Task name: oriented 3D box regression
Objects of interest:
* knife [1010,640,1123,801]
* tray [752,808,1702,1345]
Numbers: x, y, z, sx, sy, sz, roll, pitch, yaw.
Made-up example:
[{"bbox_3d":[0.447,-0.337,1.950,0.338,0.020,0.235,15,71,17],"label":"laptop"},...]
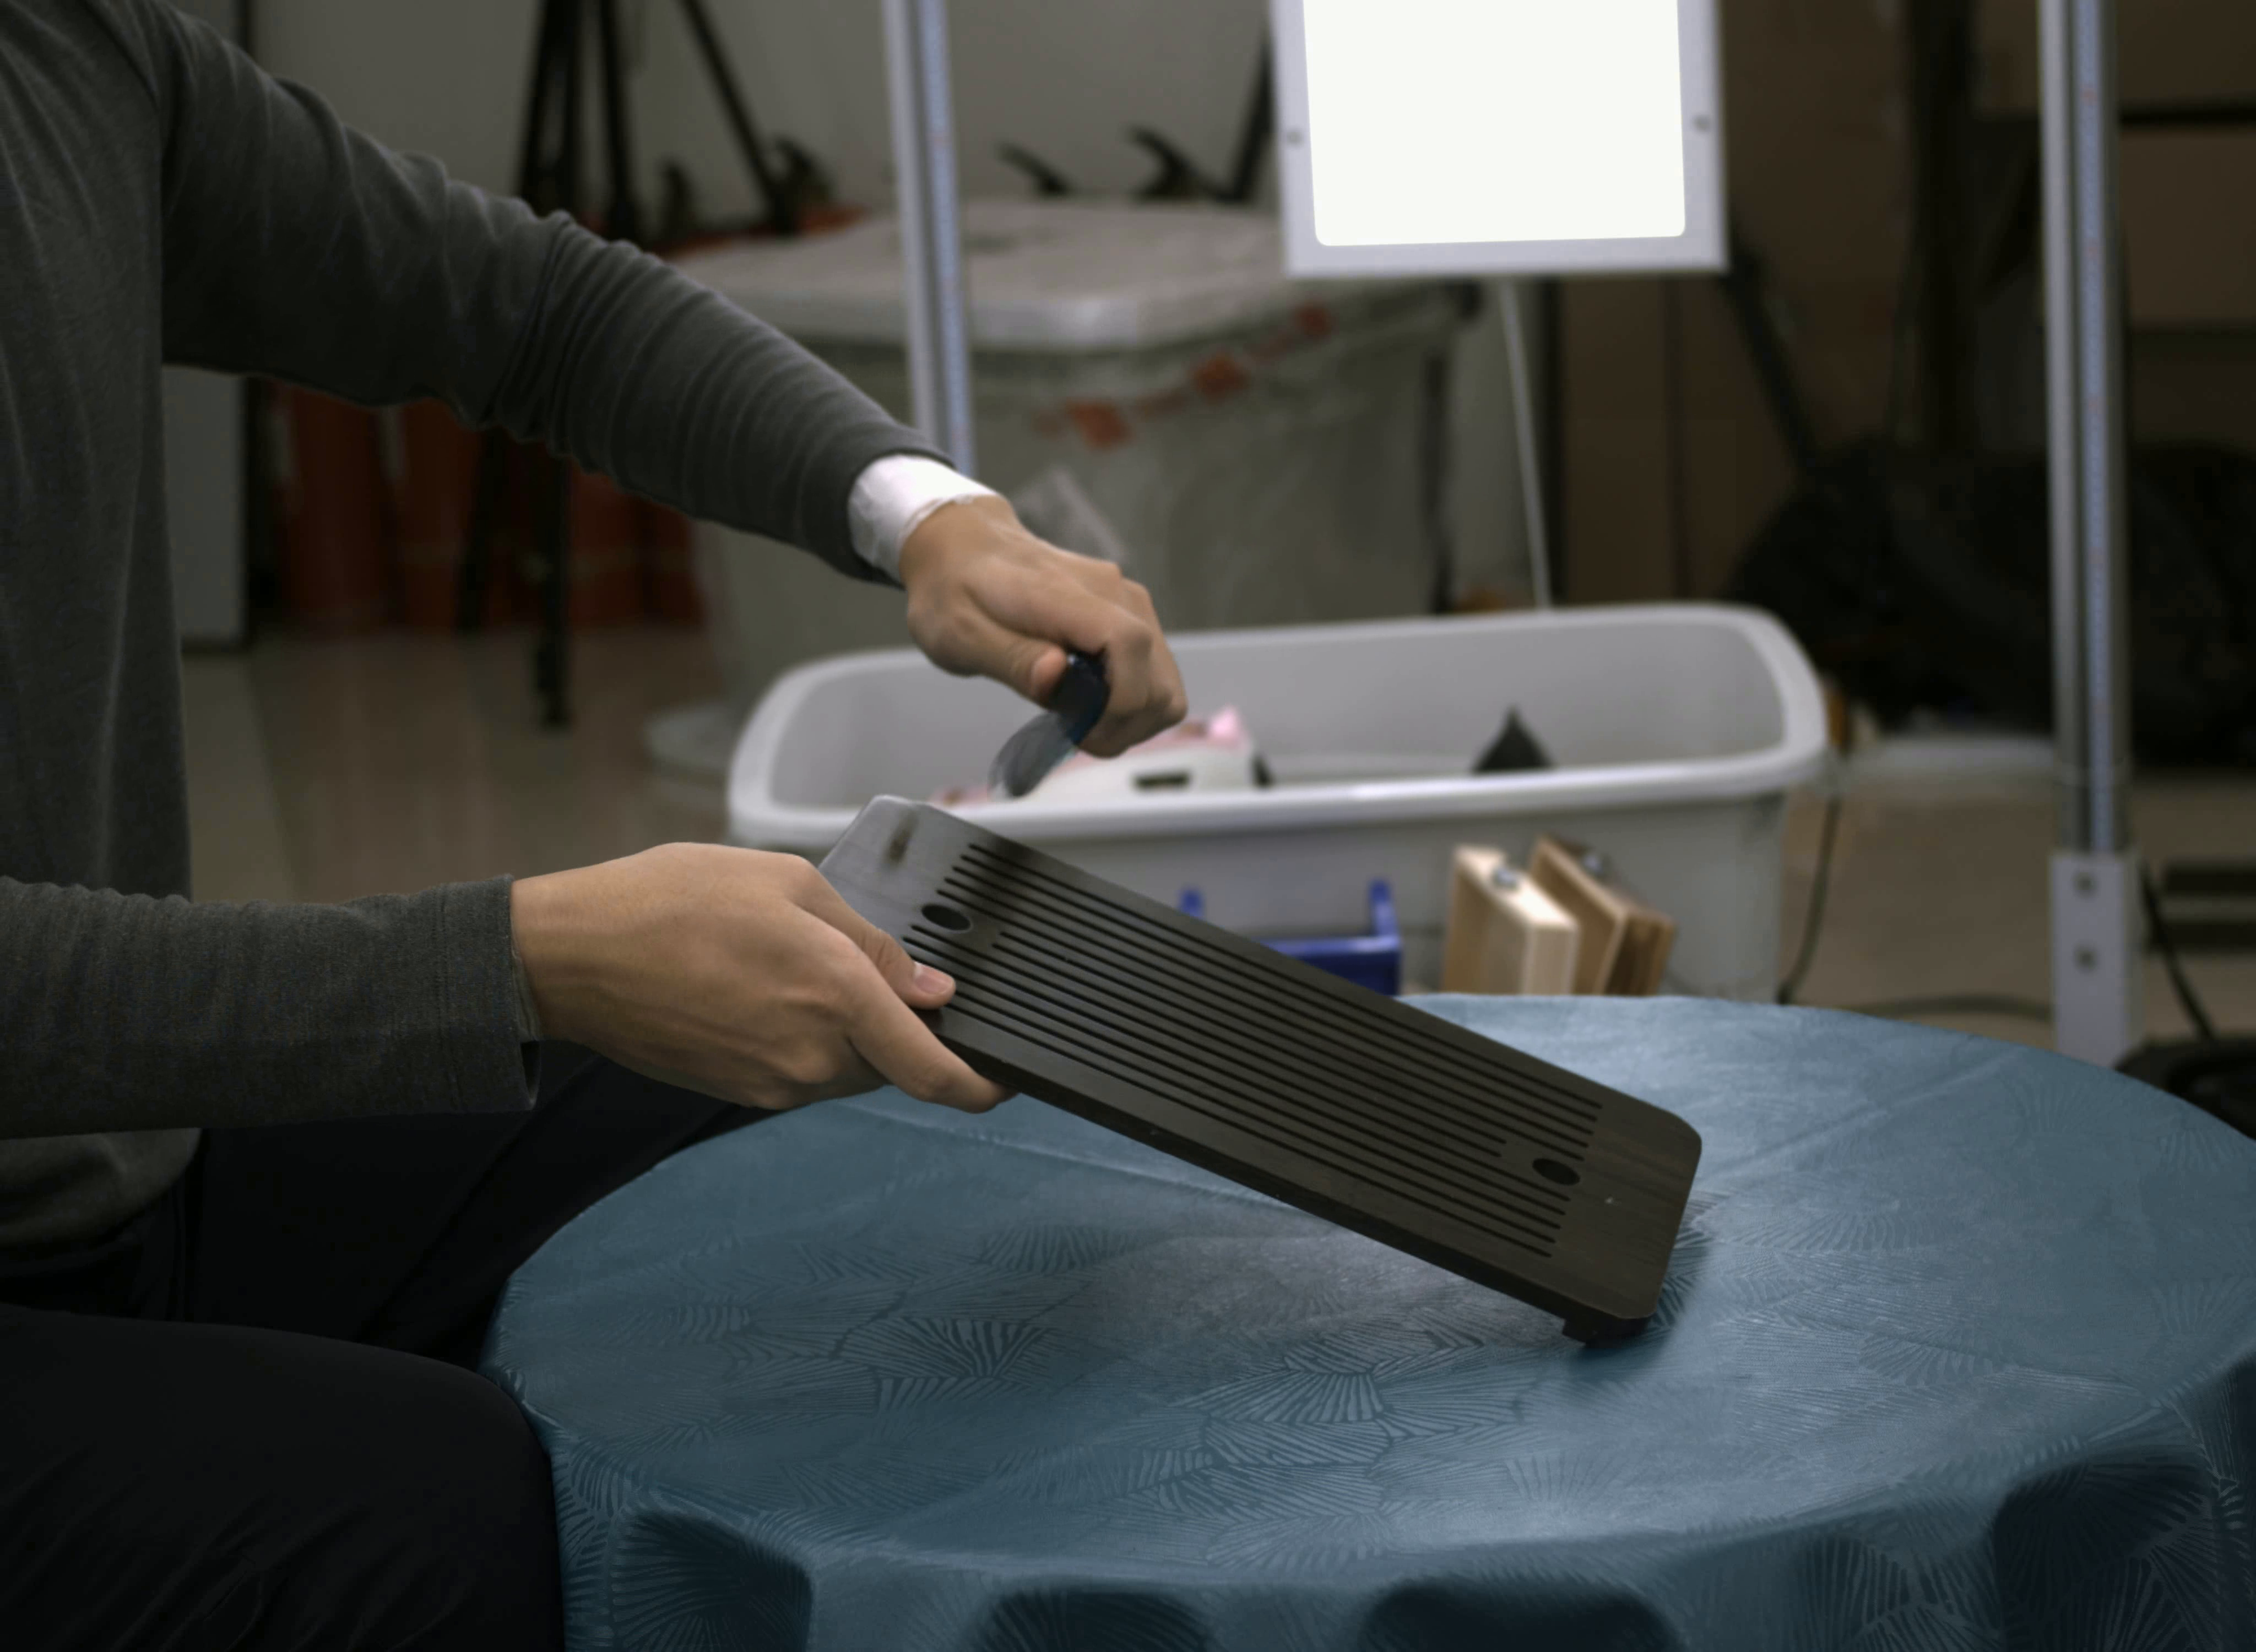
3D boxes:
[{"bbox_3d":[-0.024,-0.037,1.922,0.016,0.024,0.236,-38,5,13],"label":"knife"},{"bbox_3d":[0.036,0.080,1.787,0.306,0.019,0.168,22,22,6],"label":"tray"}]
